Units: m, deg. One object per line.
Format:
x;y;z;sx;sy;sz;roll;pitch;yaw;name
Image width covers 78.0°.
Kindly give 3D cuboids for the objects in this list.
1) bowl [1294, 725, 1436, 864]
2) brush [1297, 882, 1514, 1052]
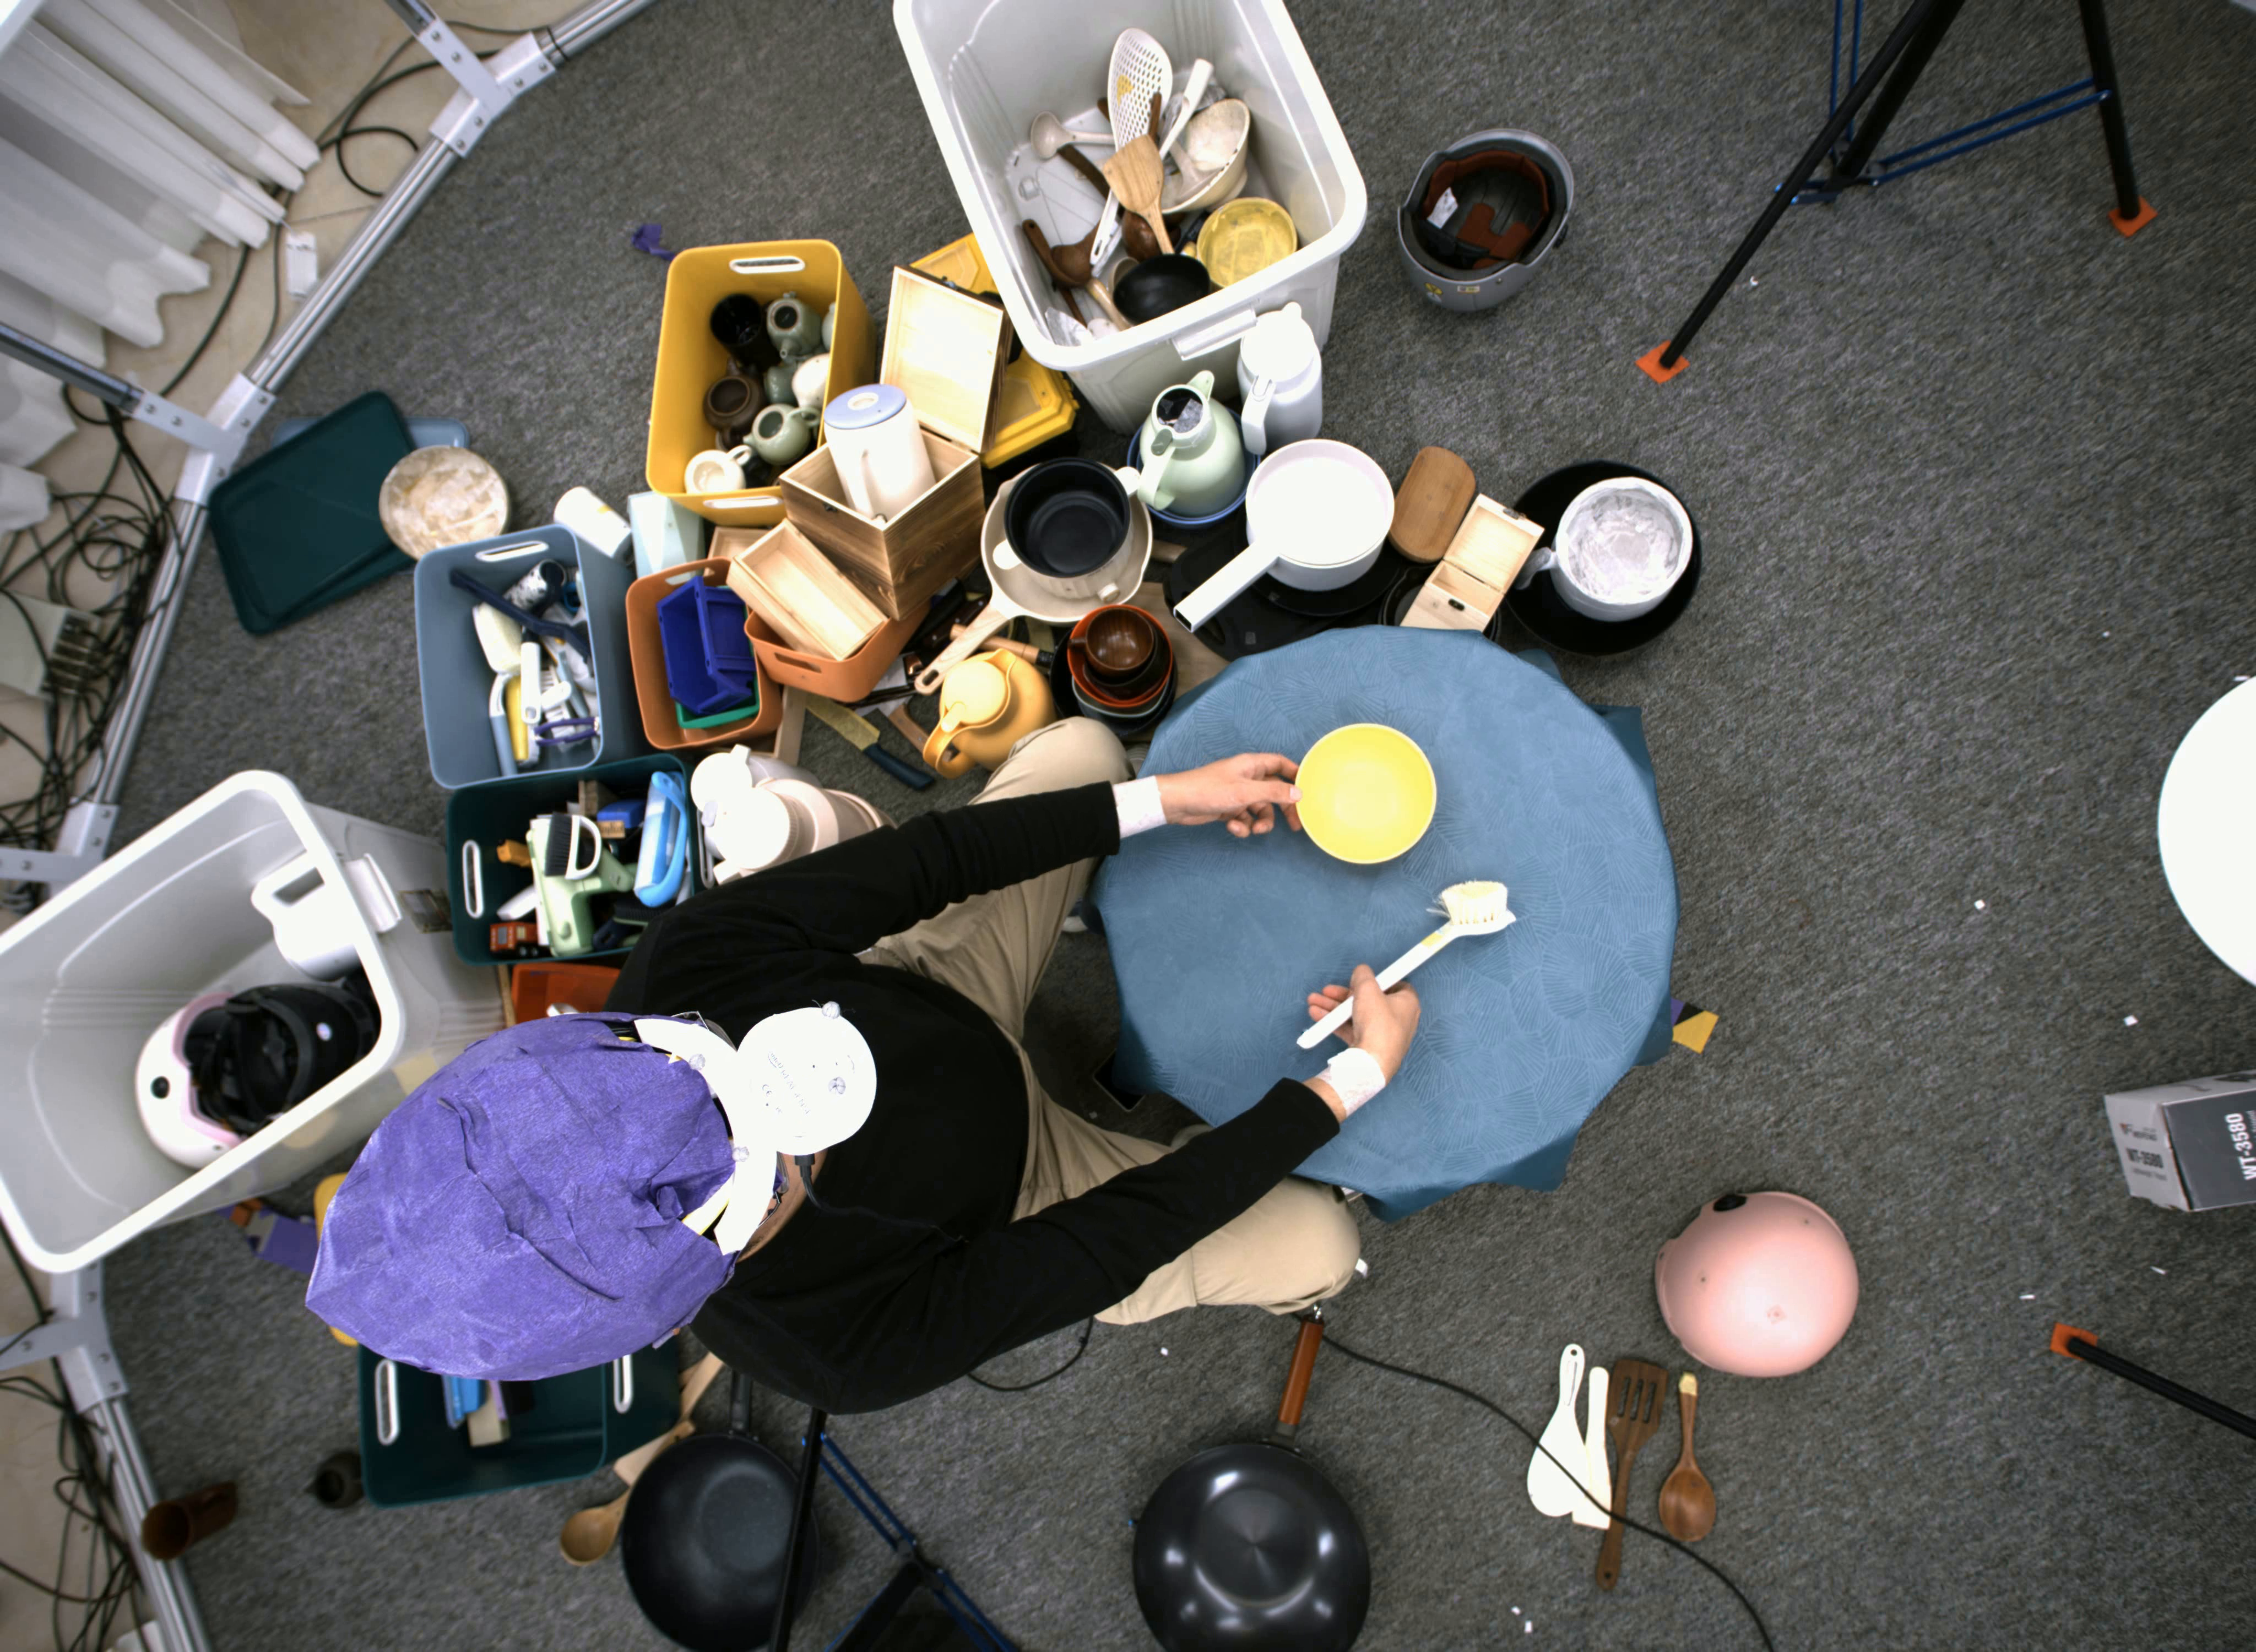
0.248;-0.031;1.440;0.146;0.060;0.144;-1;85;12;bowl
0.273;0.135;1.403;0.266;0.068;0.056;-32;97;0;brush
